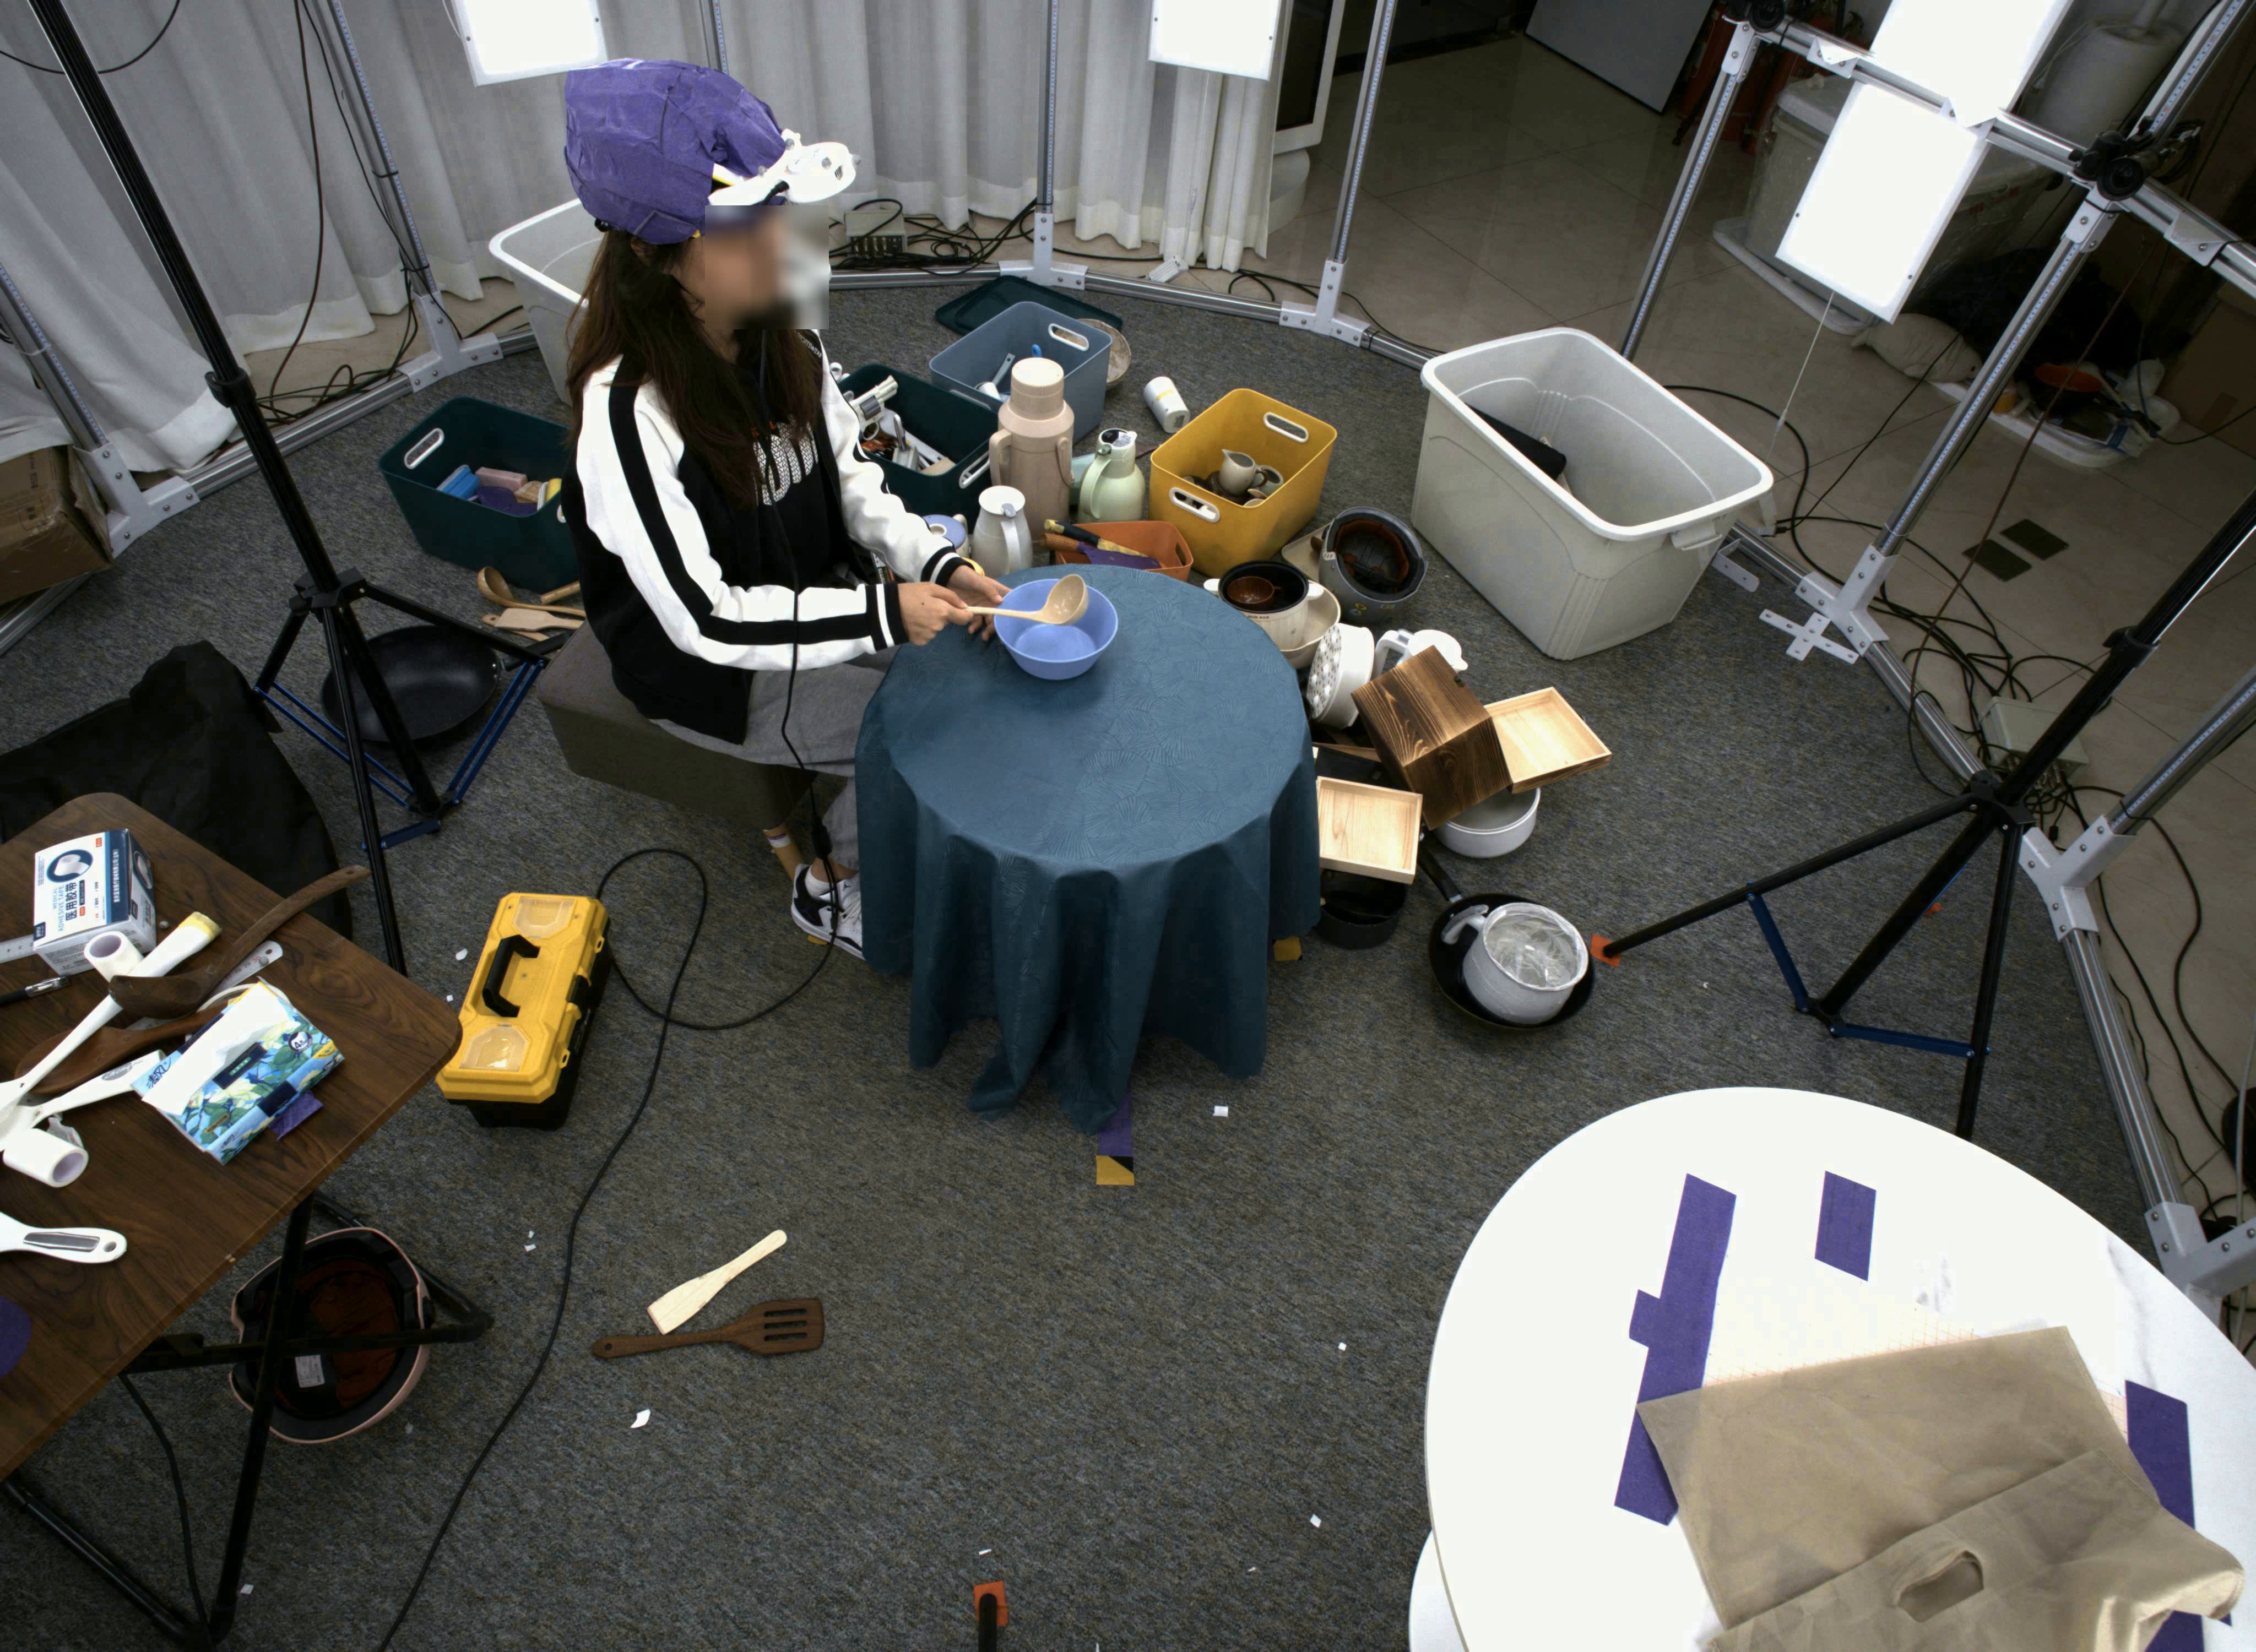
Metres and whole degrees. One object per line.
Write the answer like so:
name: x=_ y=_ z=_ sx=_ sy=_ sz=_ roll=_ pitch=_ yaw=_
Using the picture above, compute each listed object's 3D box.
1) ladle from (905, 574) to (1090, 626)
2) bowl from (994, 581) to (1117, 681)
ladle: x=-0.172 y=-0.309 z=1.745 sx=0.253 sy=0.071 sz=0.074 roll=-4 pitch=47 yaw=-29
bowl: x=-0.105 y=-0.272 z=1.854 sx=0.176 sy=0.068 sz=0.180 roll=2 pitch=48 yaw=-3
